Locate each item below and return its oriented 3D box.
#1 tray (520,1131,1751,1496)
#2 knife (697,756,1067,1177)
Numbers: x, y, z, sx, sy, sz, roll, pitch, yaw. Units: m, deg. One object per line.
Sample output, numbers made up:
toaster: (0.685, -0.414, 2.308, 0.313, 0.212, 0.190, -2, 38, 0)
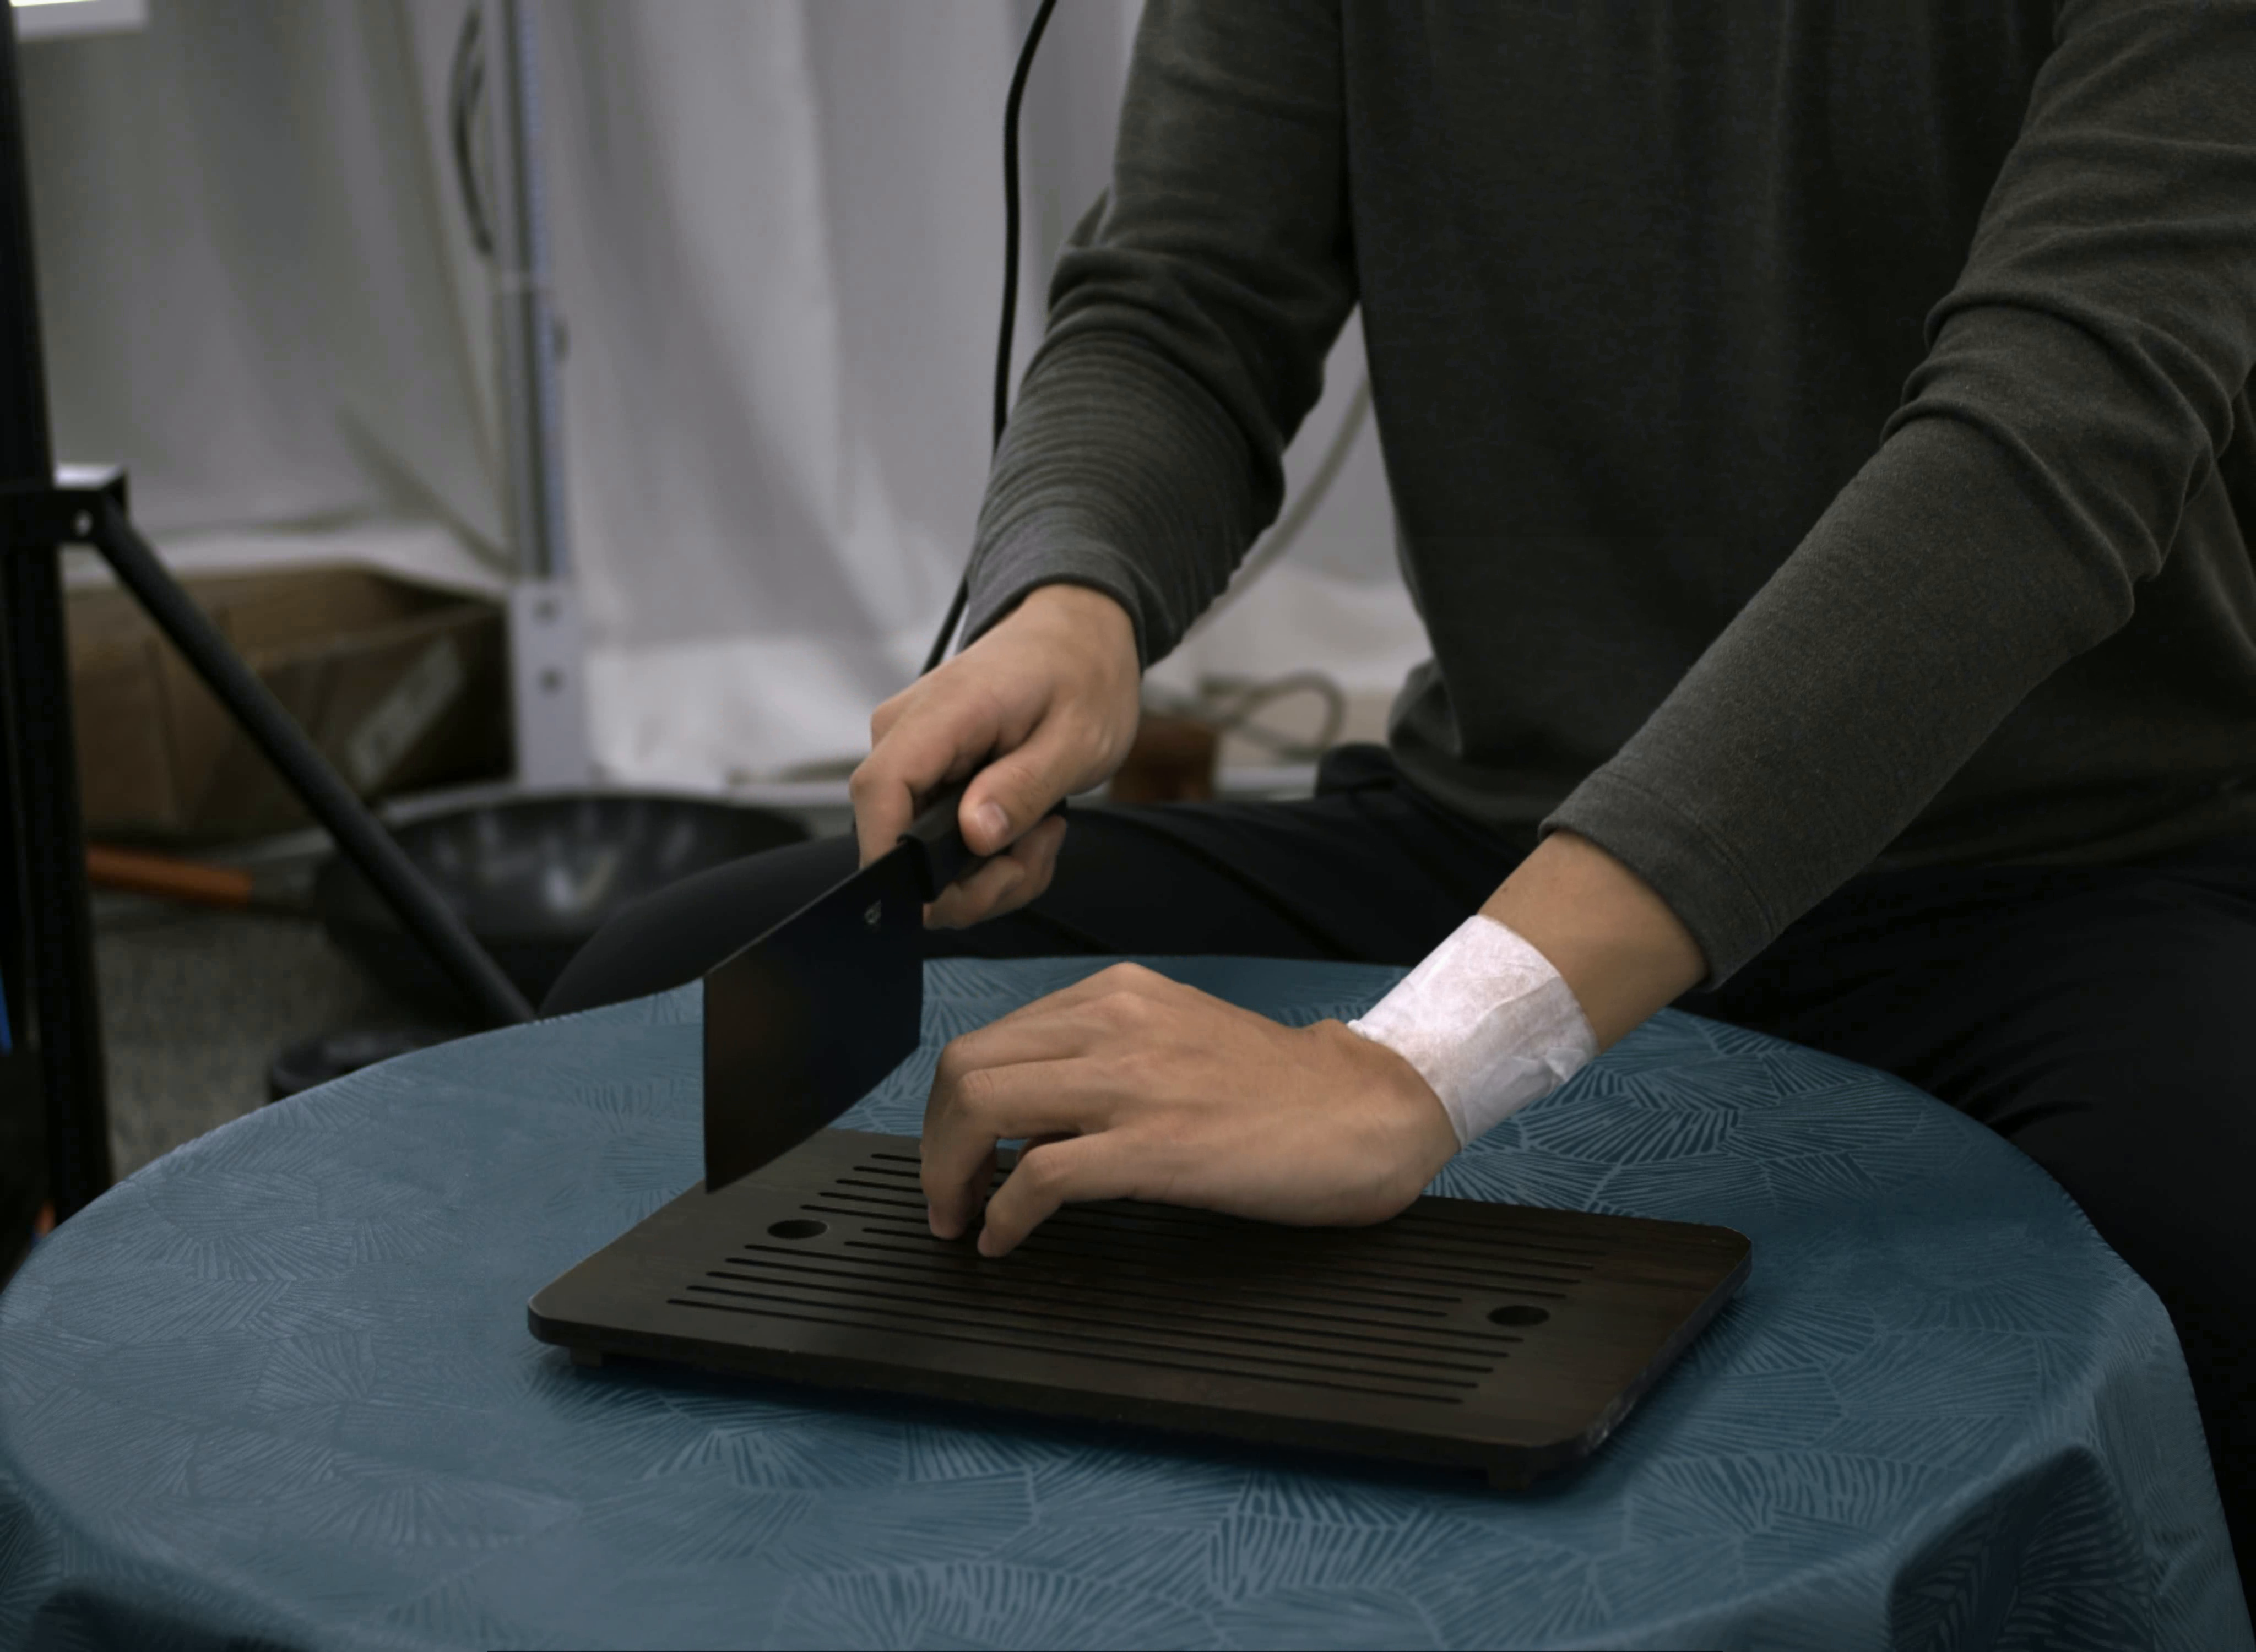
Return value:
tray: (0.003, 0.130, 1.449, 0.310, 0.018, 0.167, 5, 16, 25)
knife: (-0.069, 0.033, 1.516, 0.021, 0.081, 0.299, 6, 17, 15)
